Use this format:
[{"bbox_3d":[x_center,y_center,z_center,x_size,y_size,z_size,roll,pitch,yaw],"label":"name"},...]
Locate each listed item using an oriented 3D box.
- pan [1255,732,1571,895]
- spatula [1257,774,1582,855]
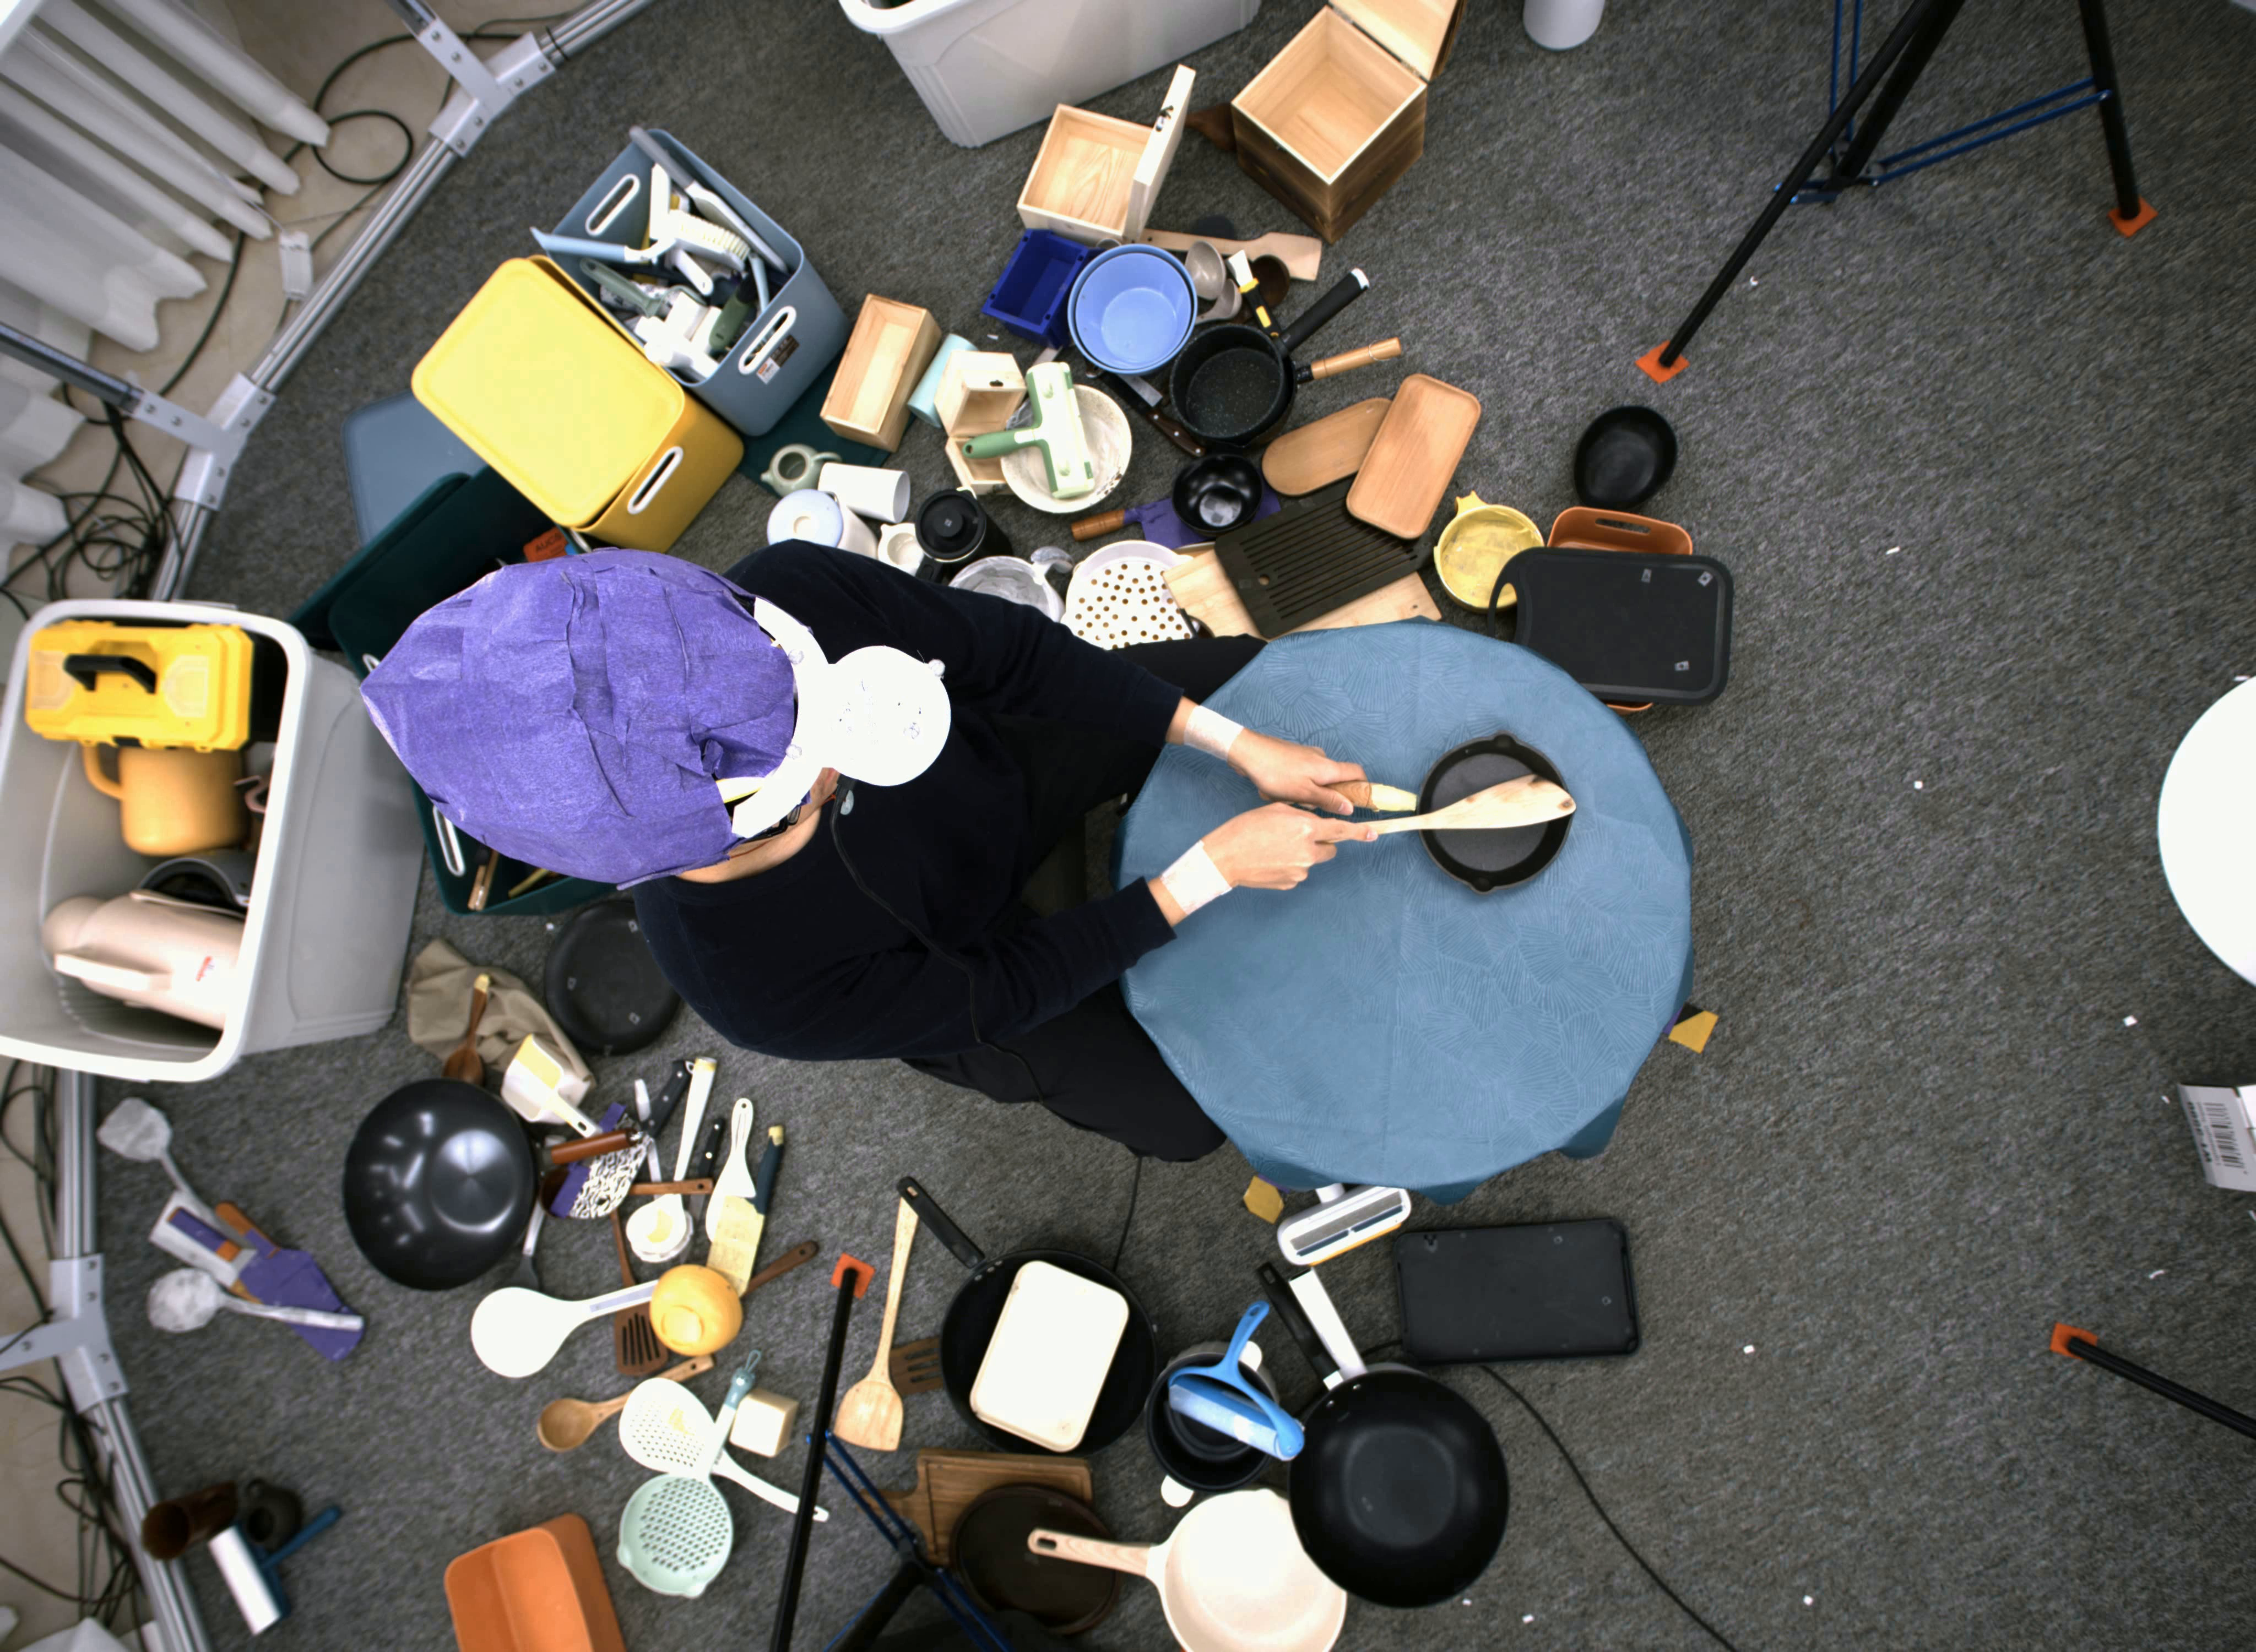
[{"bbox_3d":[0.292,-0.029,1.419,0.325,0.049,0.169,10,95,4],"label":"pan"},{"bbox_3d":[0.288,-0.009,1.380,0.327,0.078,0.017,-9,124,-6],"label":"spatula"}]
